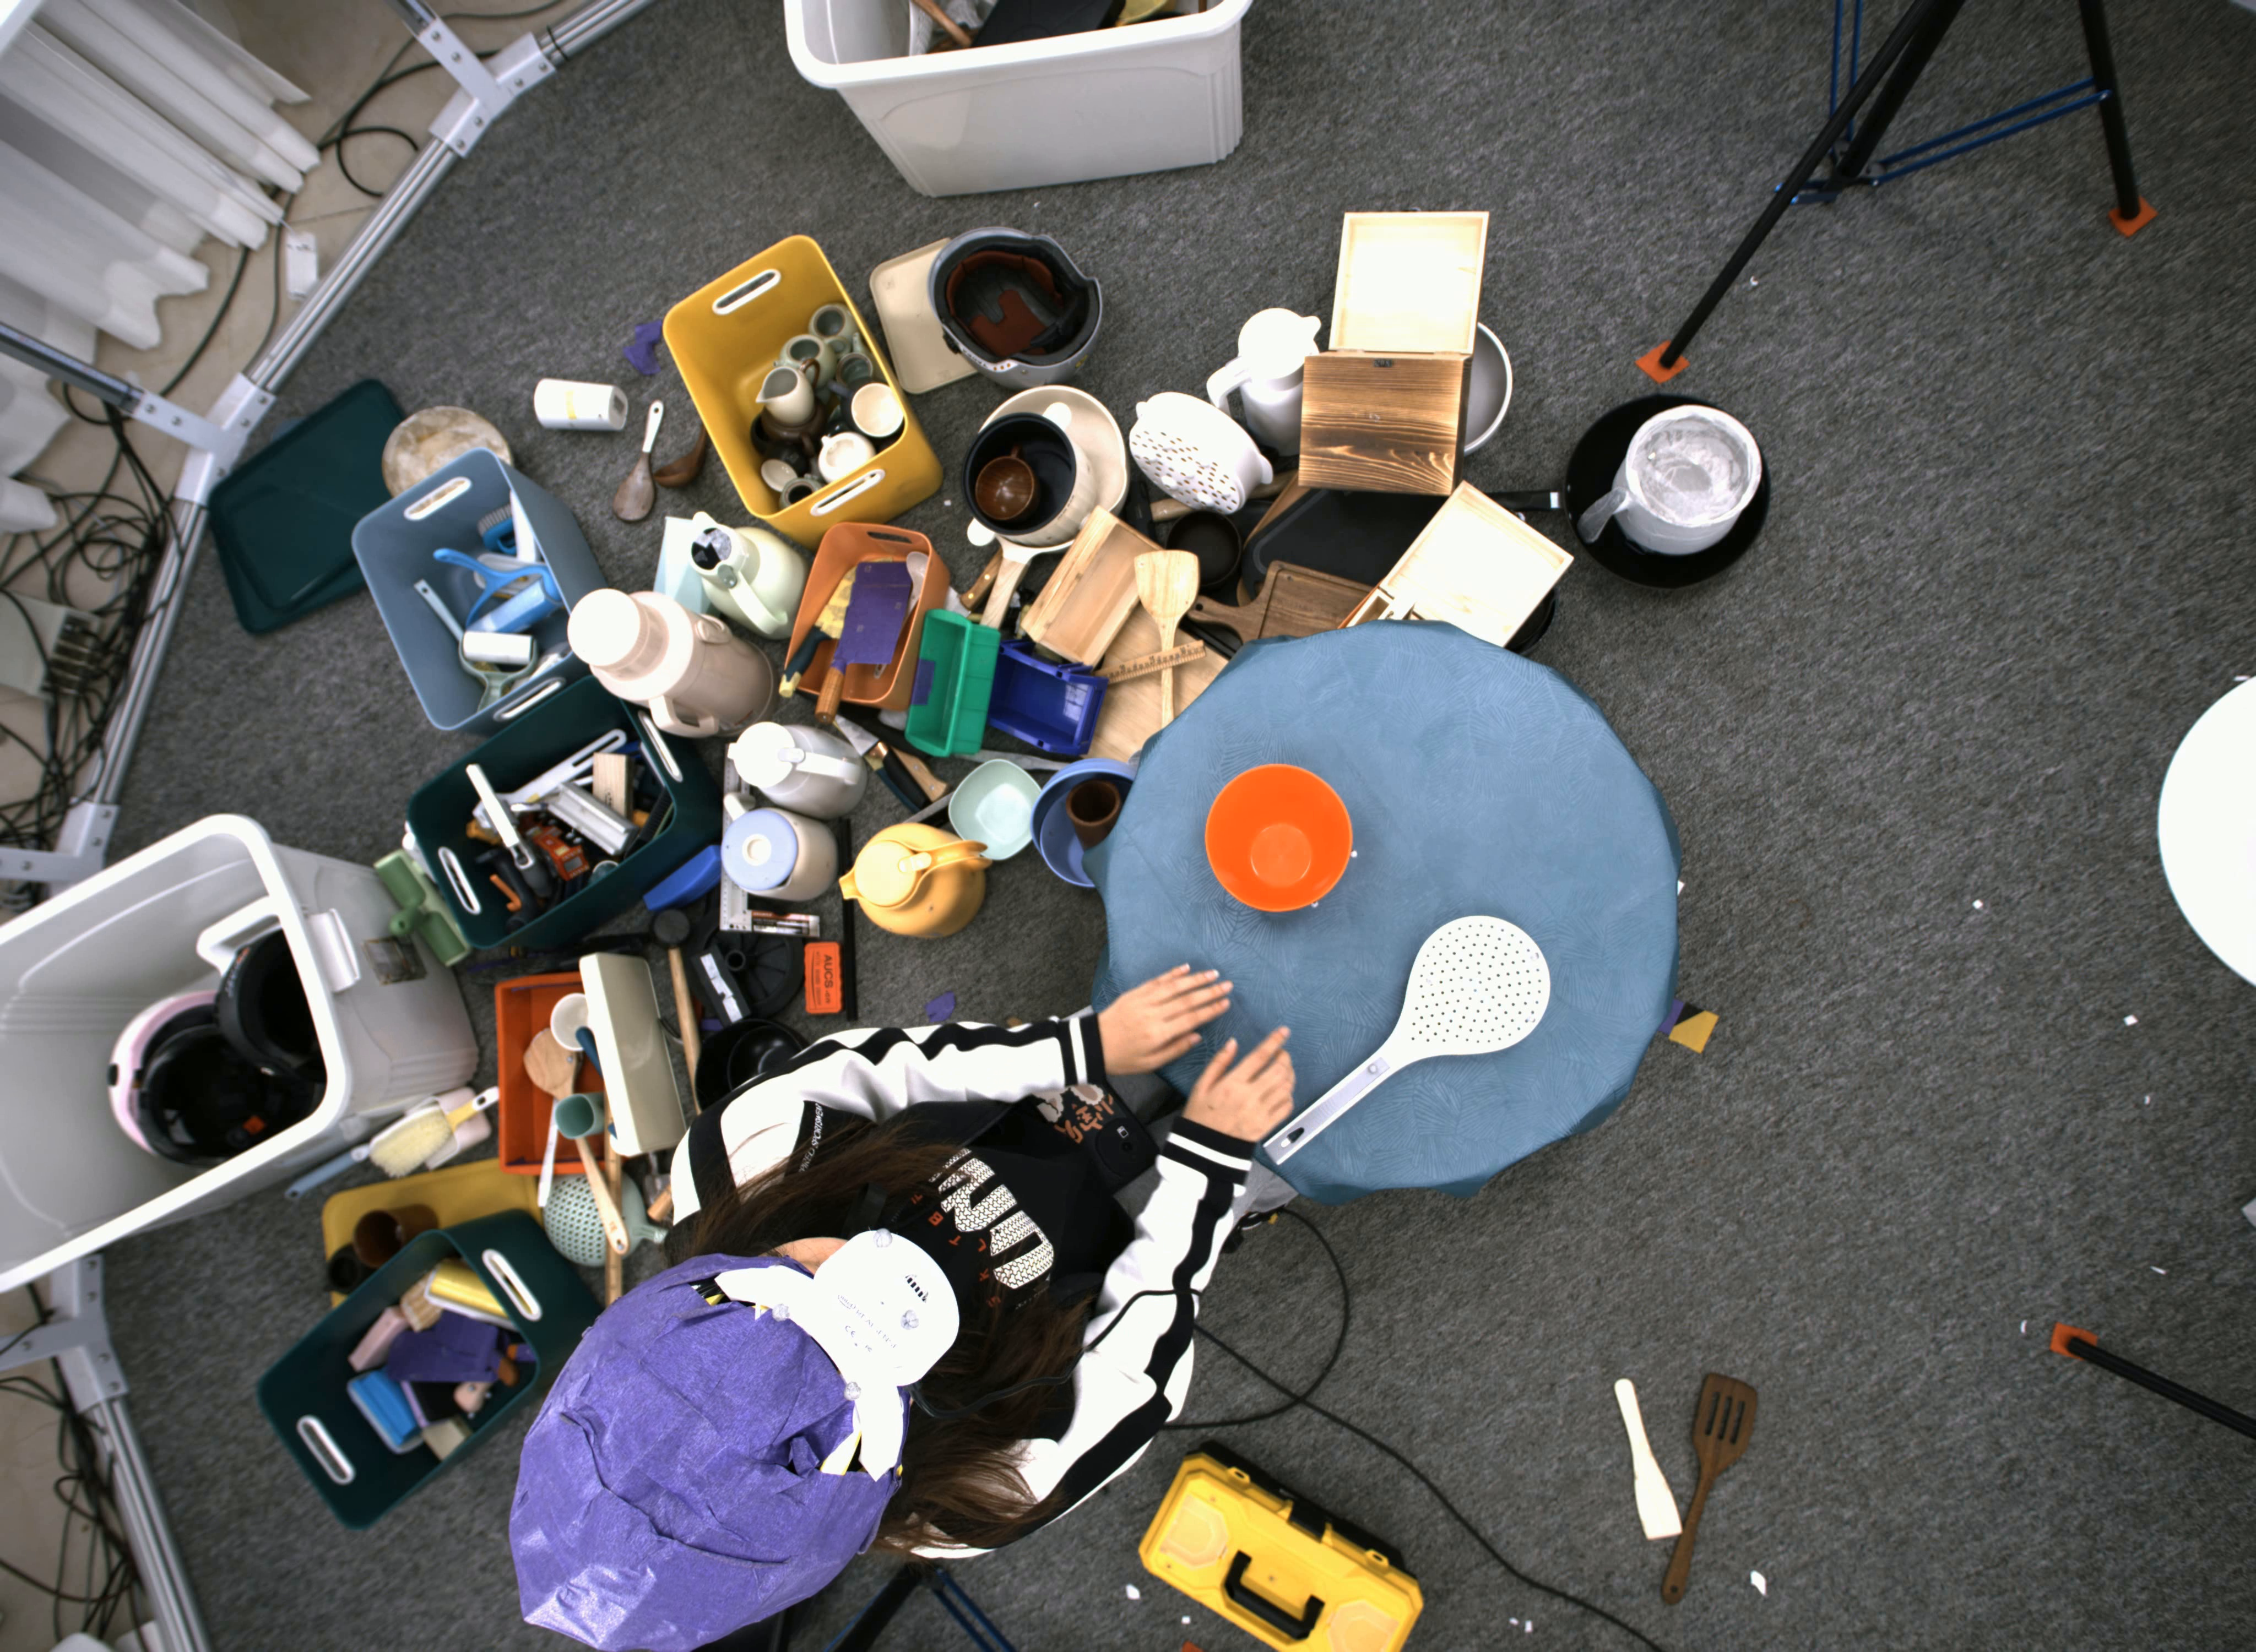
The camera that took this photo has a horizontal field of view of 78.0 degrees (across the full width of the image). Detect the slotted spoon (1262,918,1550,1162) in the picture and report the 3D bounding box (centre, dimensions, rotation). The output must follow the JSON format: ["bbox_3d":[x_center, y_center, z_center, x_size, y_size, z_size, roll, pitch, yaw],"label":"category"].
[{"bbox_3d":[0.279,0.230,1.427,0.351,0.046,0.135,-40,79,7],"label":"slotted spoon"}]

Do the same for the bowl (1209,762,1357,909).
[{"bbox_3d":[0.158,0.011,1.428,0.148,0.104,0.148,0,90,5],"label":"bowl"}]
